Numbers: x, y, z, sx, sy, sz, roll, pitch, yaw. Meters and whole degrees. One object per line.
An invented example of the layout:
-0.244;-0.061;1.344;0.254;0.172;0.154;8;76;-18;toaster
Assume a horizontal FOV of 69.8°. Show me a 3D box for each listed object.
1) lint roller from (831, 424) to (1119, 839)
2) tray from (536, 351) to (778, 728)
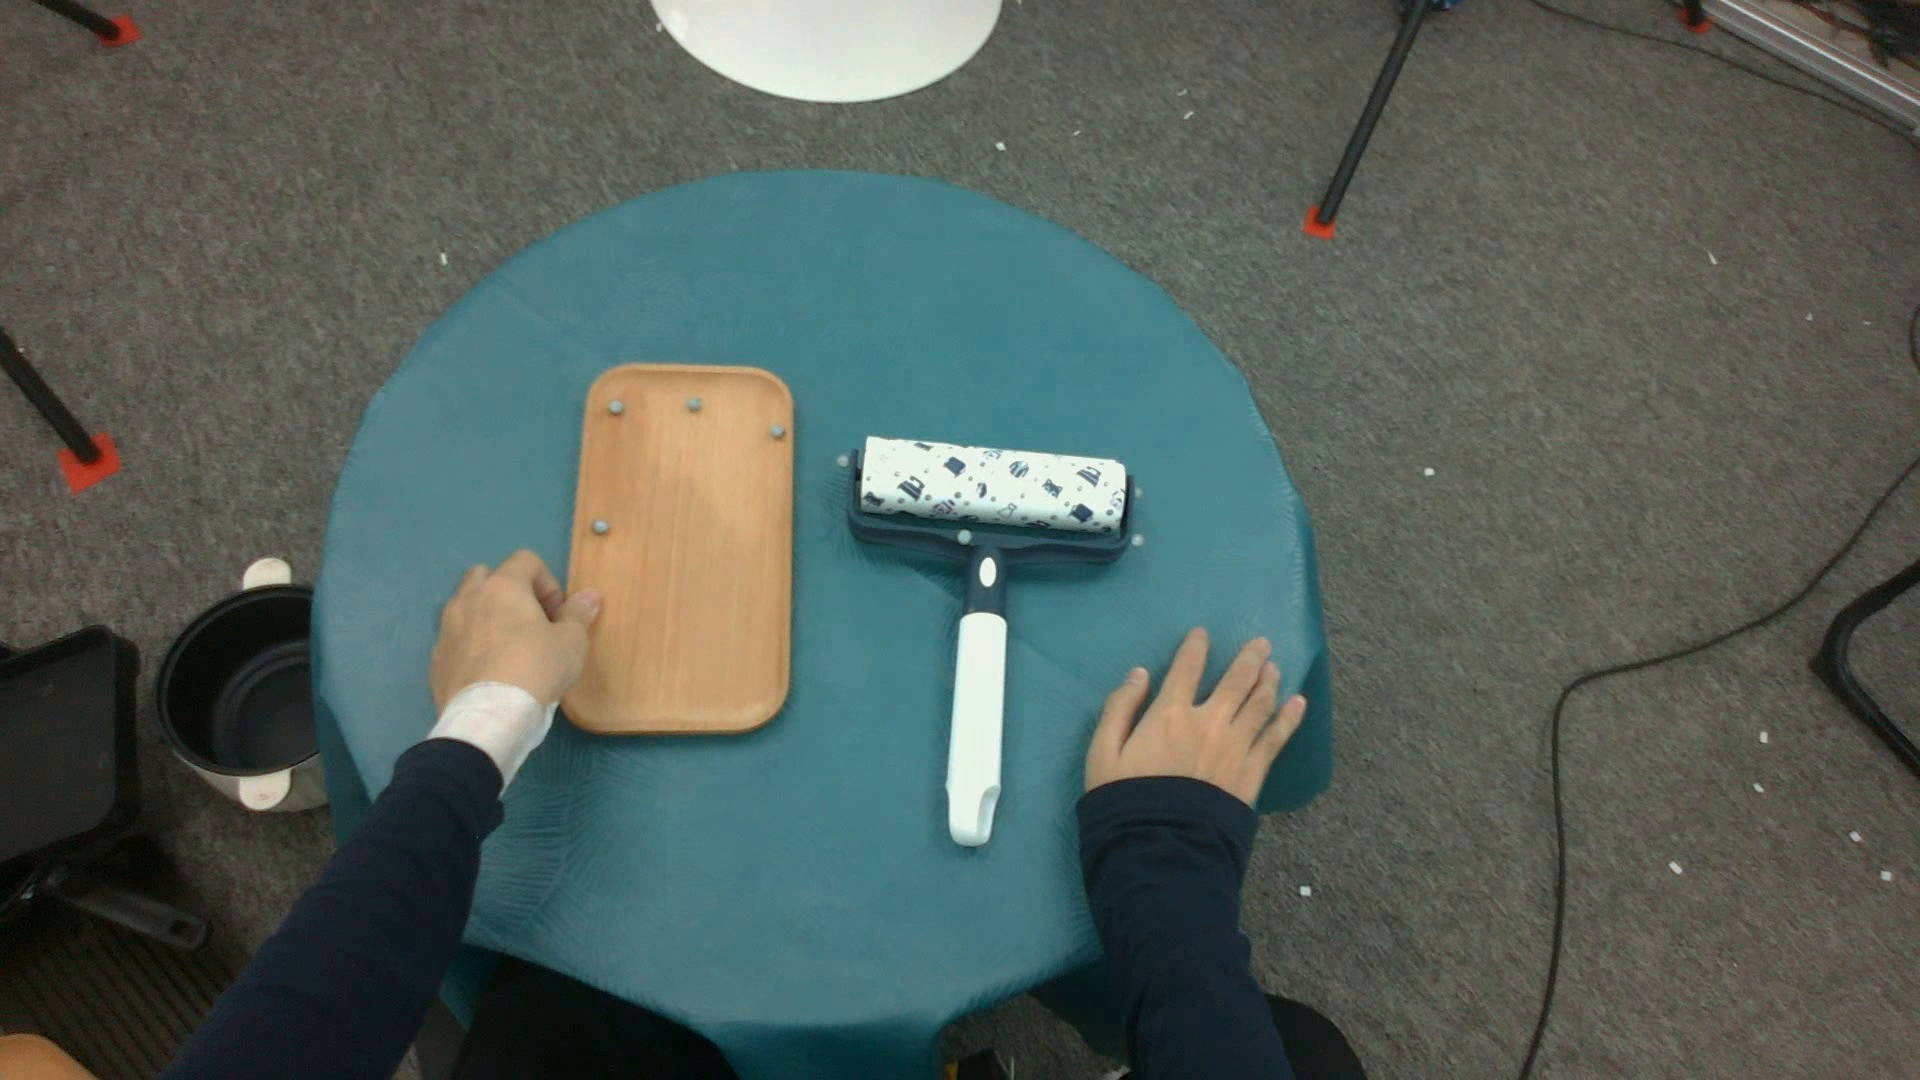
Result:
0.007;0.048;0.801;0.176;0.050;0.248;5;63;-6;lint roller
-0.175;-0.006;0.819;0.130;0.023;0.251;1;61;-7;tray
